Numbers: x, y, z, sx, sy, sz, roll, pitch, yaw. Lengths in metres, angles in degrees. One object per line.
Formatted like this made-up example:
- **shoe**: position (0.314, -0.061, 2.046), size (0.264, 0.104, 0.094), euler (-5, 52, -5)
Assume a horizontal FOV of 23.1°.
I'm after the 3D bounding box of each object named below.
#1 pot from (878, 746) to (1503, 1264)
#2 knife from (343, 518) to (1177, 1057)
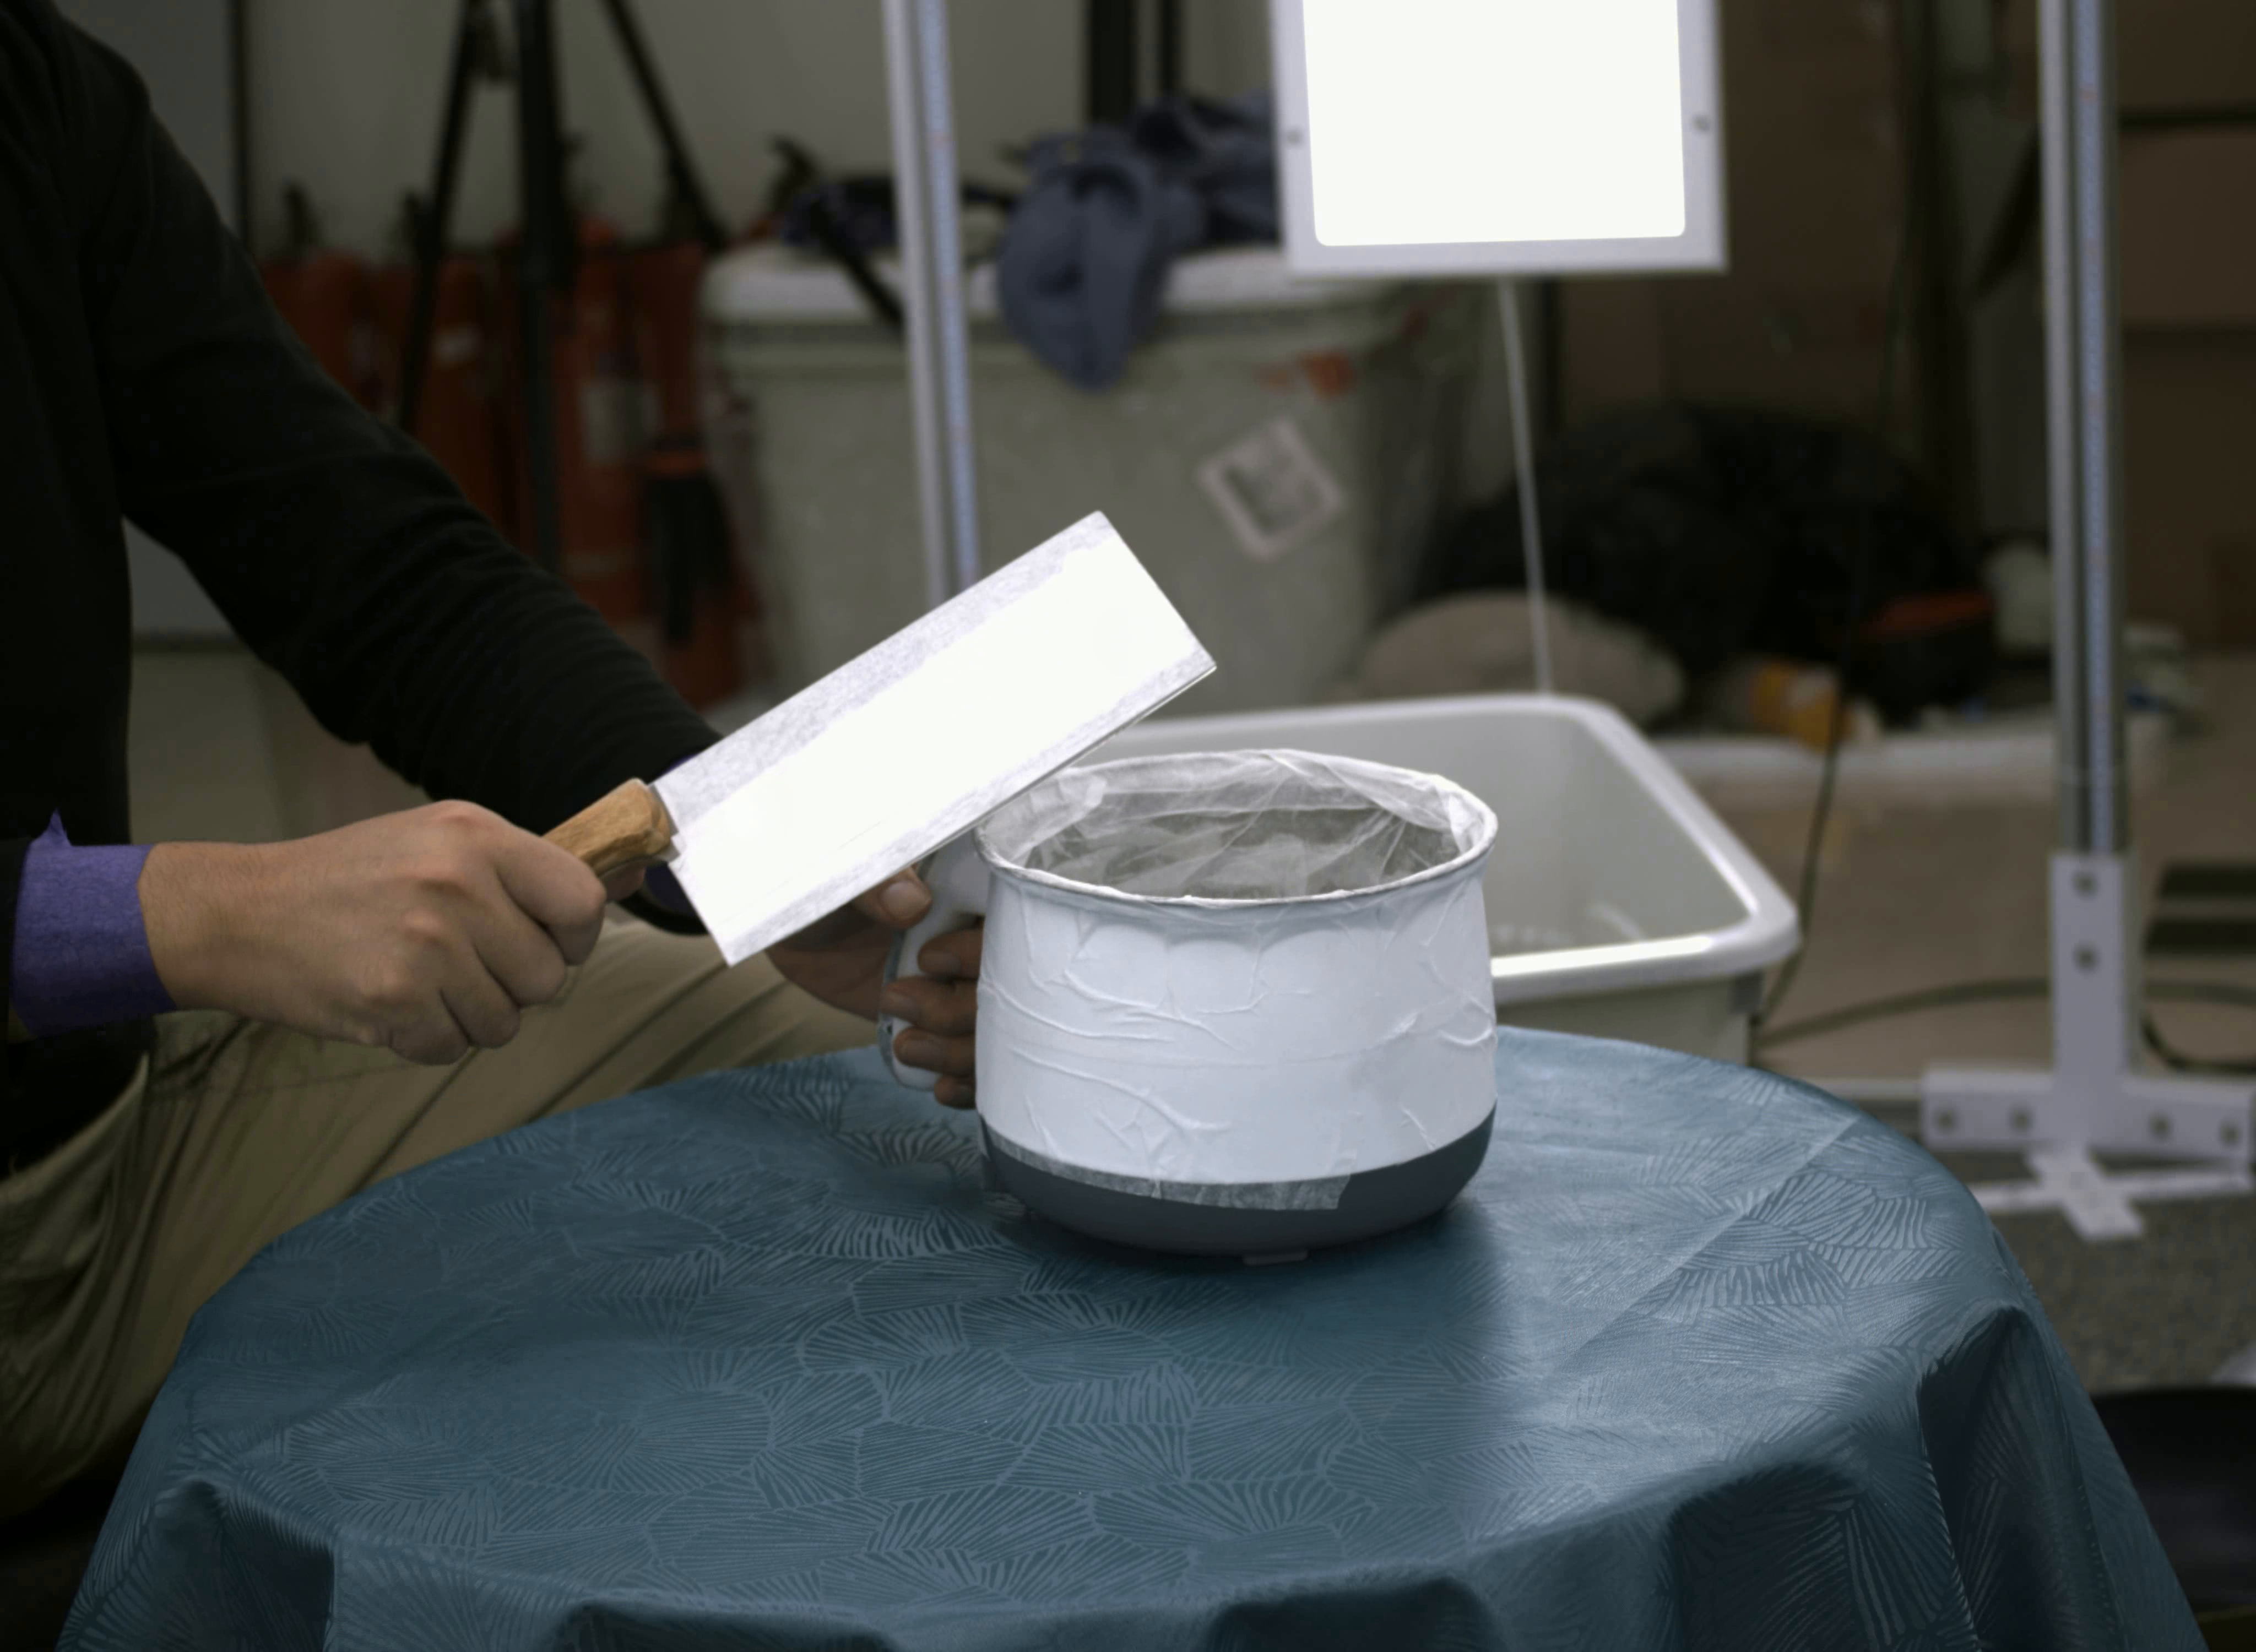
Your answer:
- **pot**: position (0.013, 0.054, 1.870), size (0.238, 0.137, 0.174), euler (11, 20, 33)
- **knife**: position (-0.120, 0.000, 1.840), size (0.305, 0.021, 0.094), euler (-33, 47, 0)
